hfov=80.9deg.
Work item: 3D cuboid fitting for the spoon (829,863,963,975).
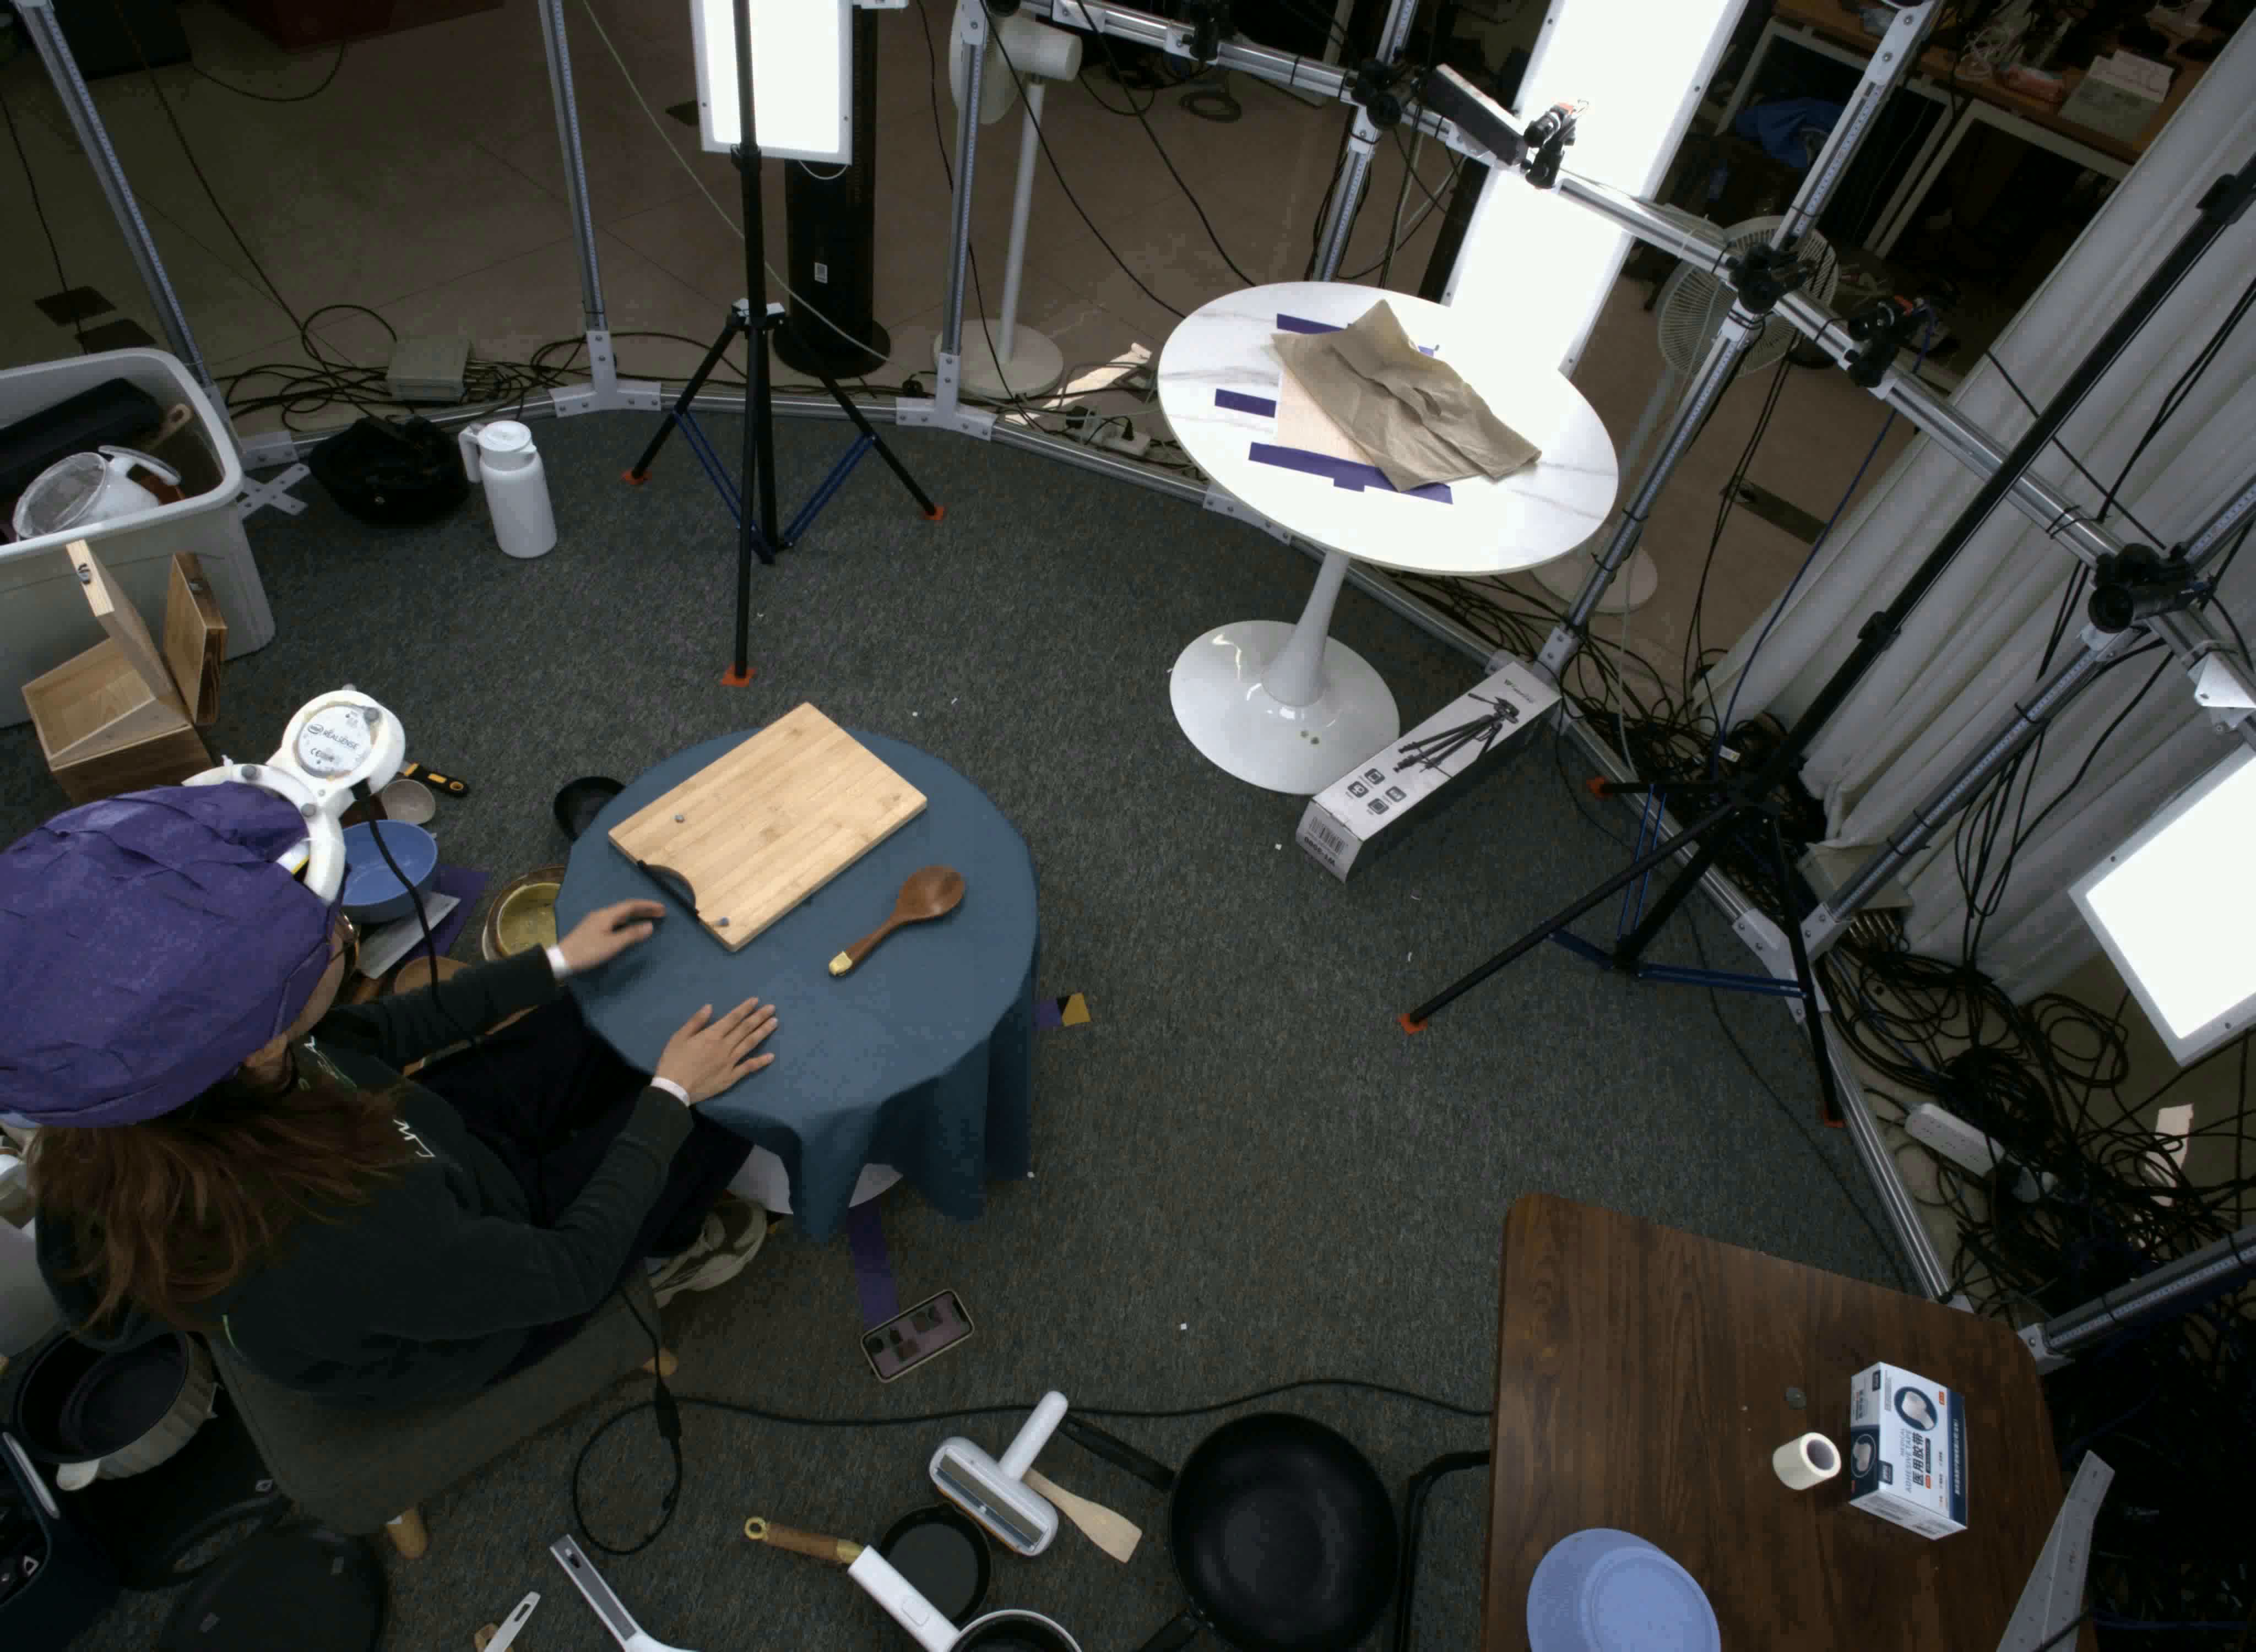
[{"bbox_3d":[-0.297,0.119,1.662,0.074,0.017,0.216,40,54,14],"label":"spoon"}]

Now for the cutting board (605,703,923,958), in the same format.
[{"bbox_3d":[-0.475,-0.006,1.710,0.245,0.024,0.349,37,54,14],"label":"cutting board"}]
